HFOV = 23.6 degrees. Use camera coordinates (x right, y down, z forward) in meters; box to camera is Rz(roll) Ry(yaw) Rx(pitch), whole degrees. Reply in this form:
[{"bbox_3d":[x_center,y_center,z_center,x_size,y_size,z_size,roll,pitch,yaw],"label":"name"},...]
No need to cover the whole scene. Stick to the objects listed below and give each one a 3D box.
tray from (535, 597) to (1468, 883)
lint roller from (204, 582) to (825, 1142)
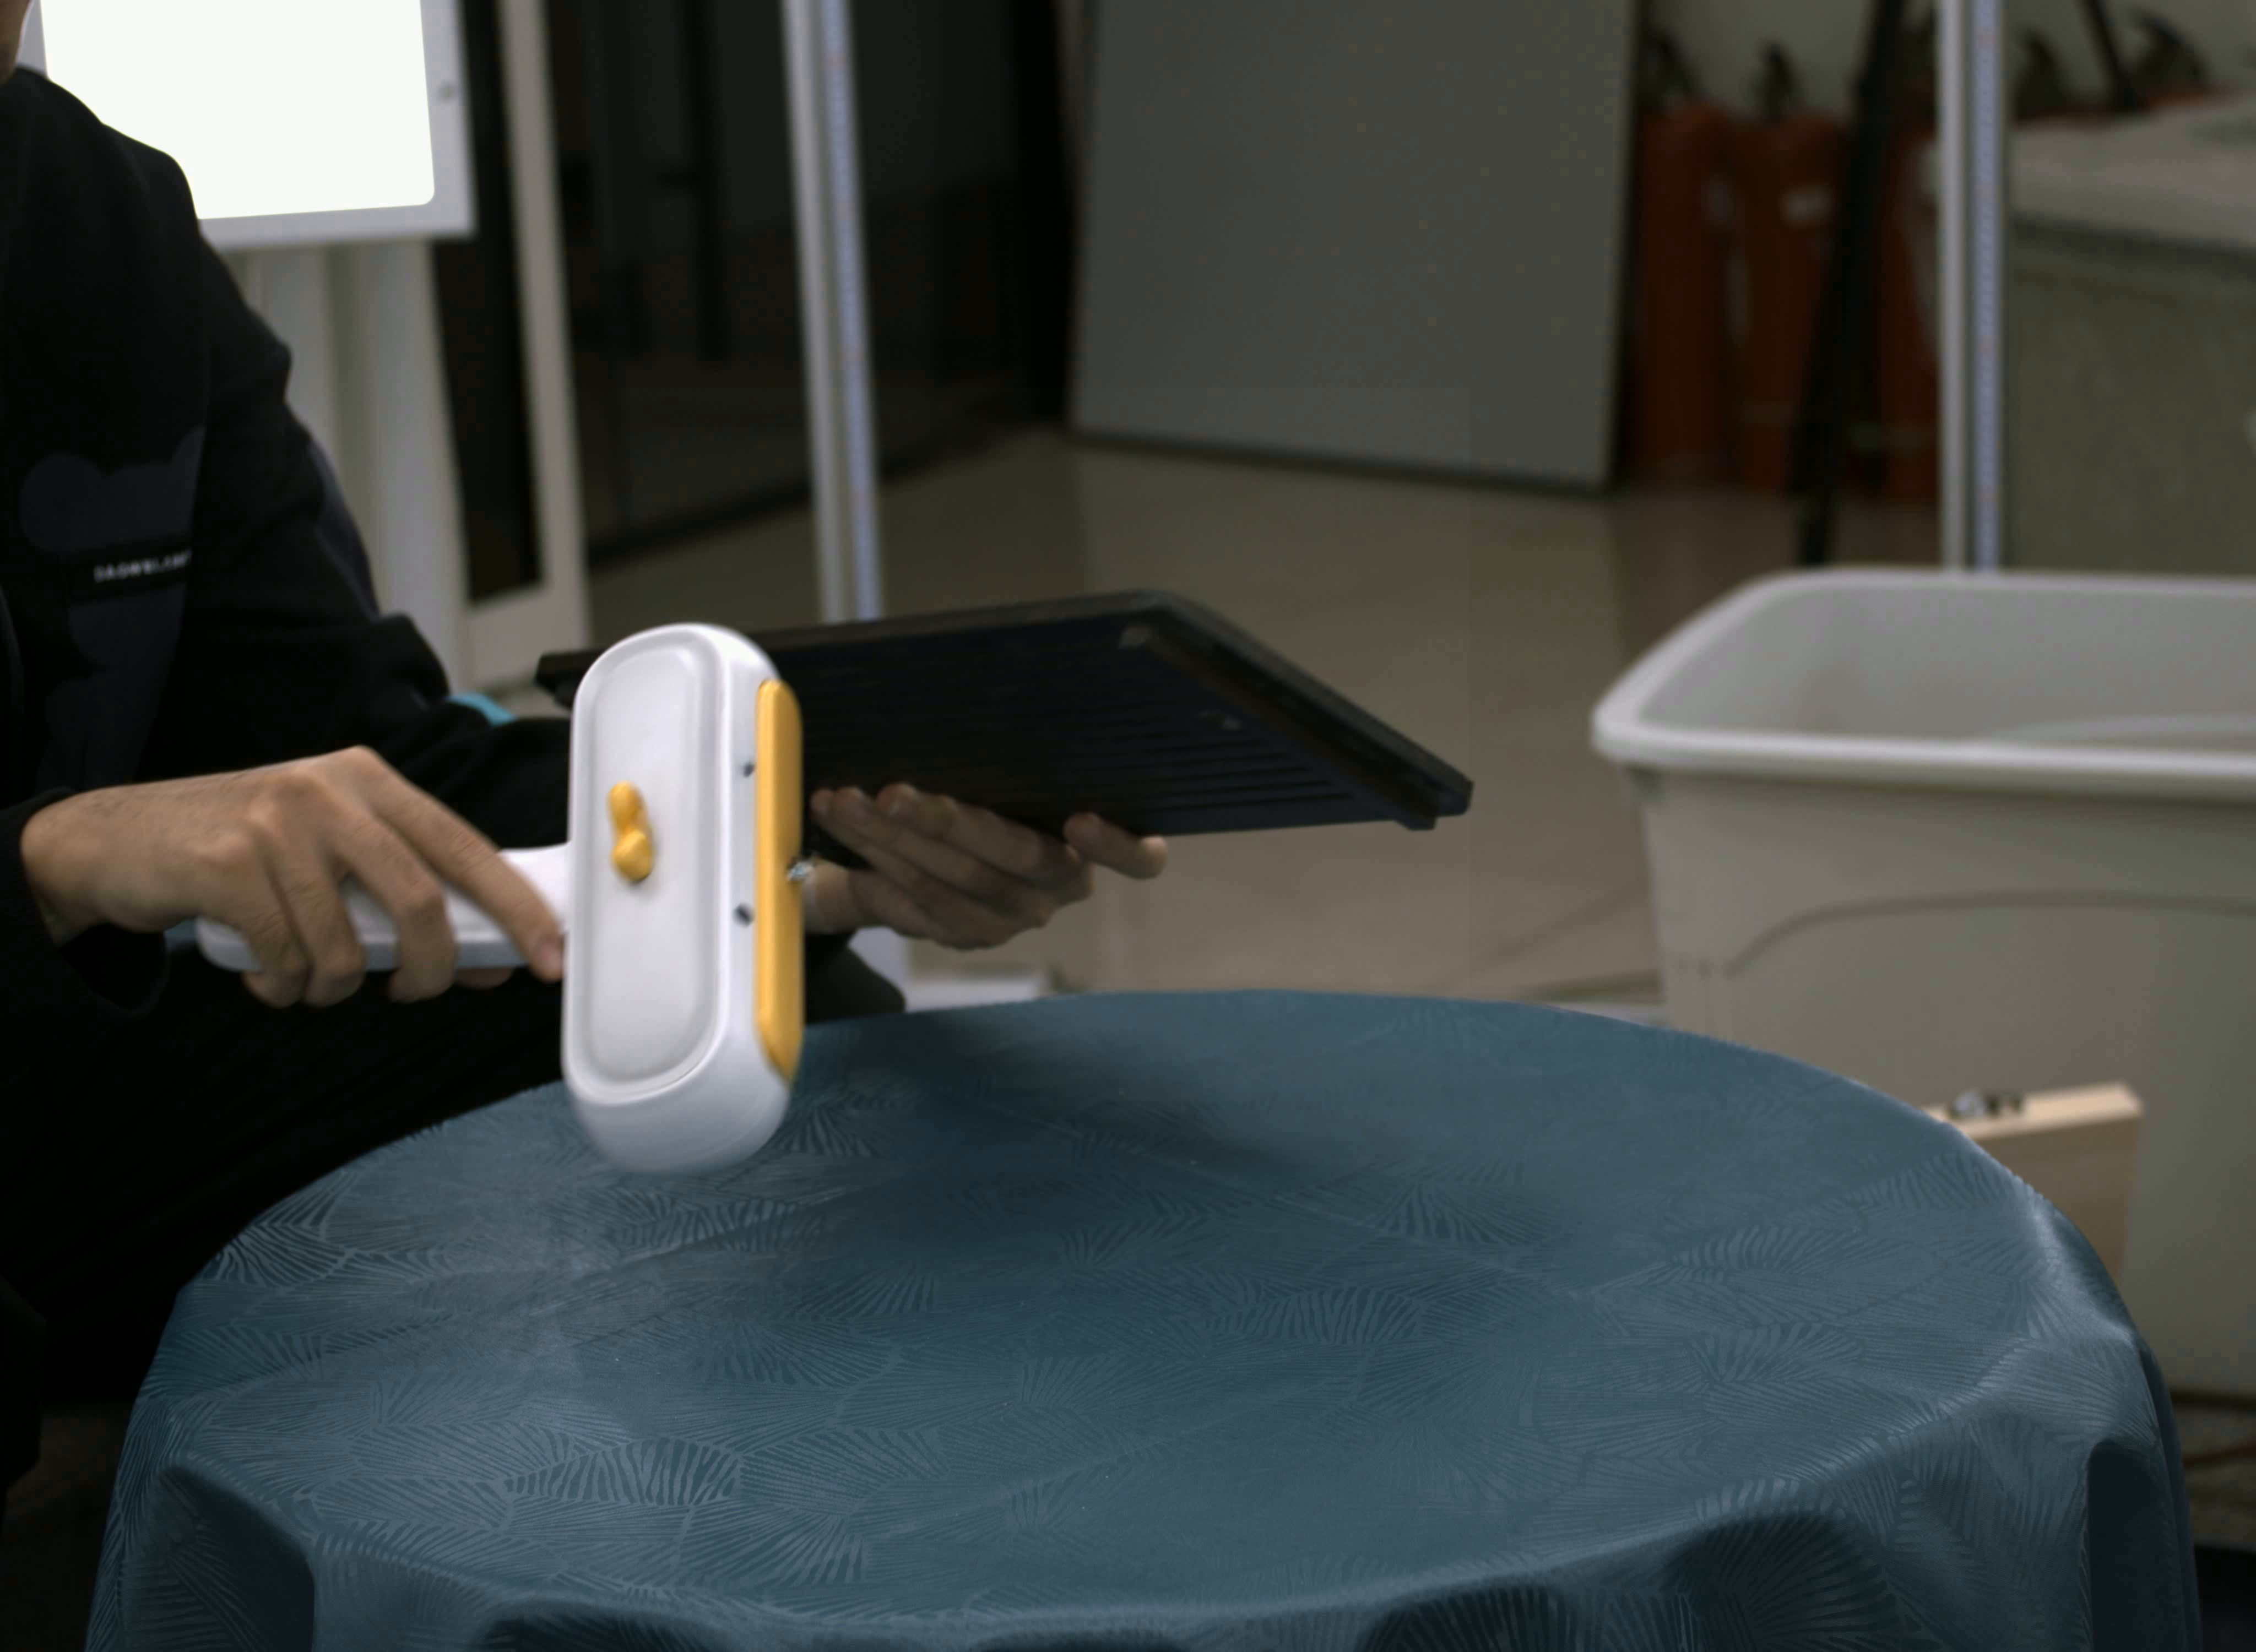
[{"bbox_3d":[-0.048,-0.024,1.823,0.308,0.019,0.167,-6,-26,44],"label":"tray"},{"bbox_3d":[-0.195,0.020,1.714,0.191,0.195,0.074,-14,-31,9],"label":"lint roller"}]
